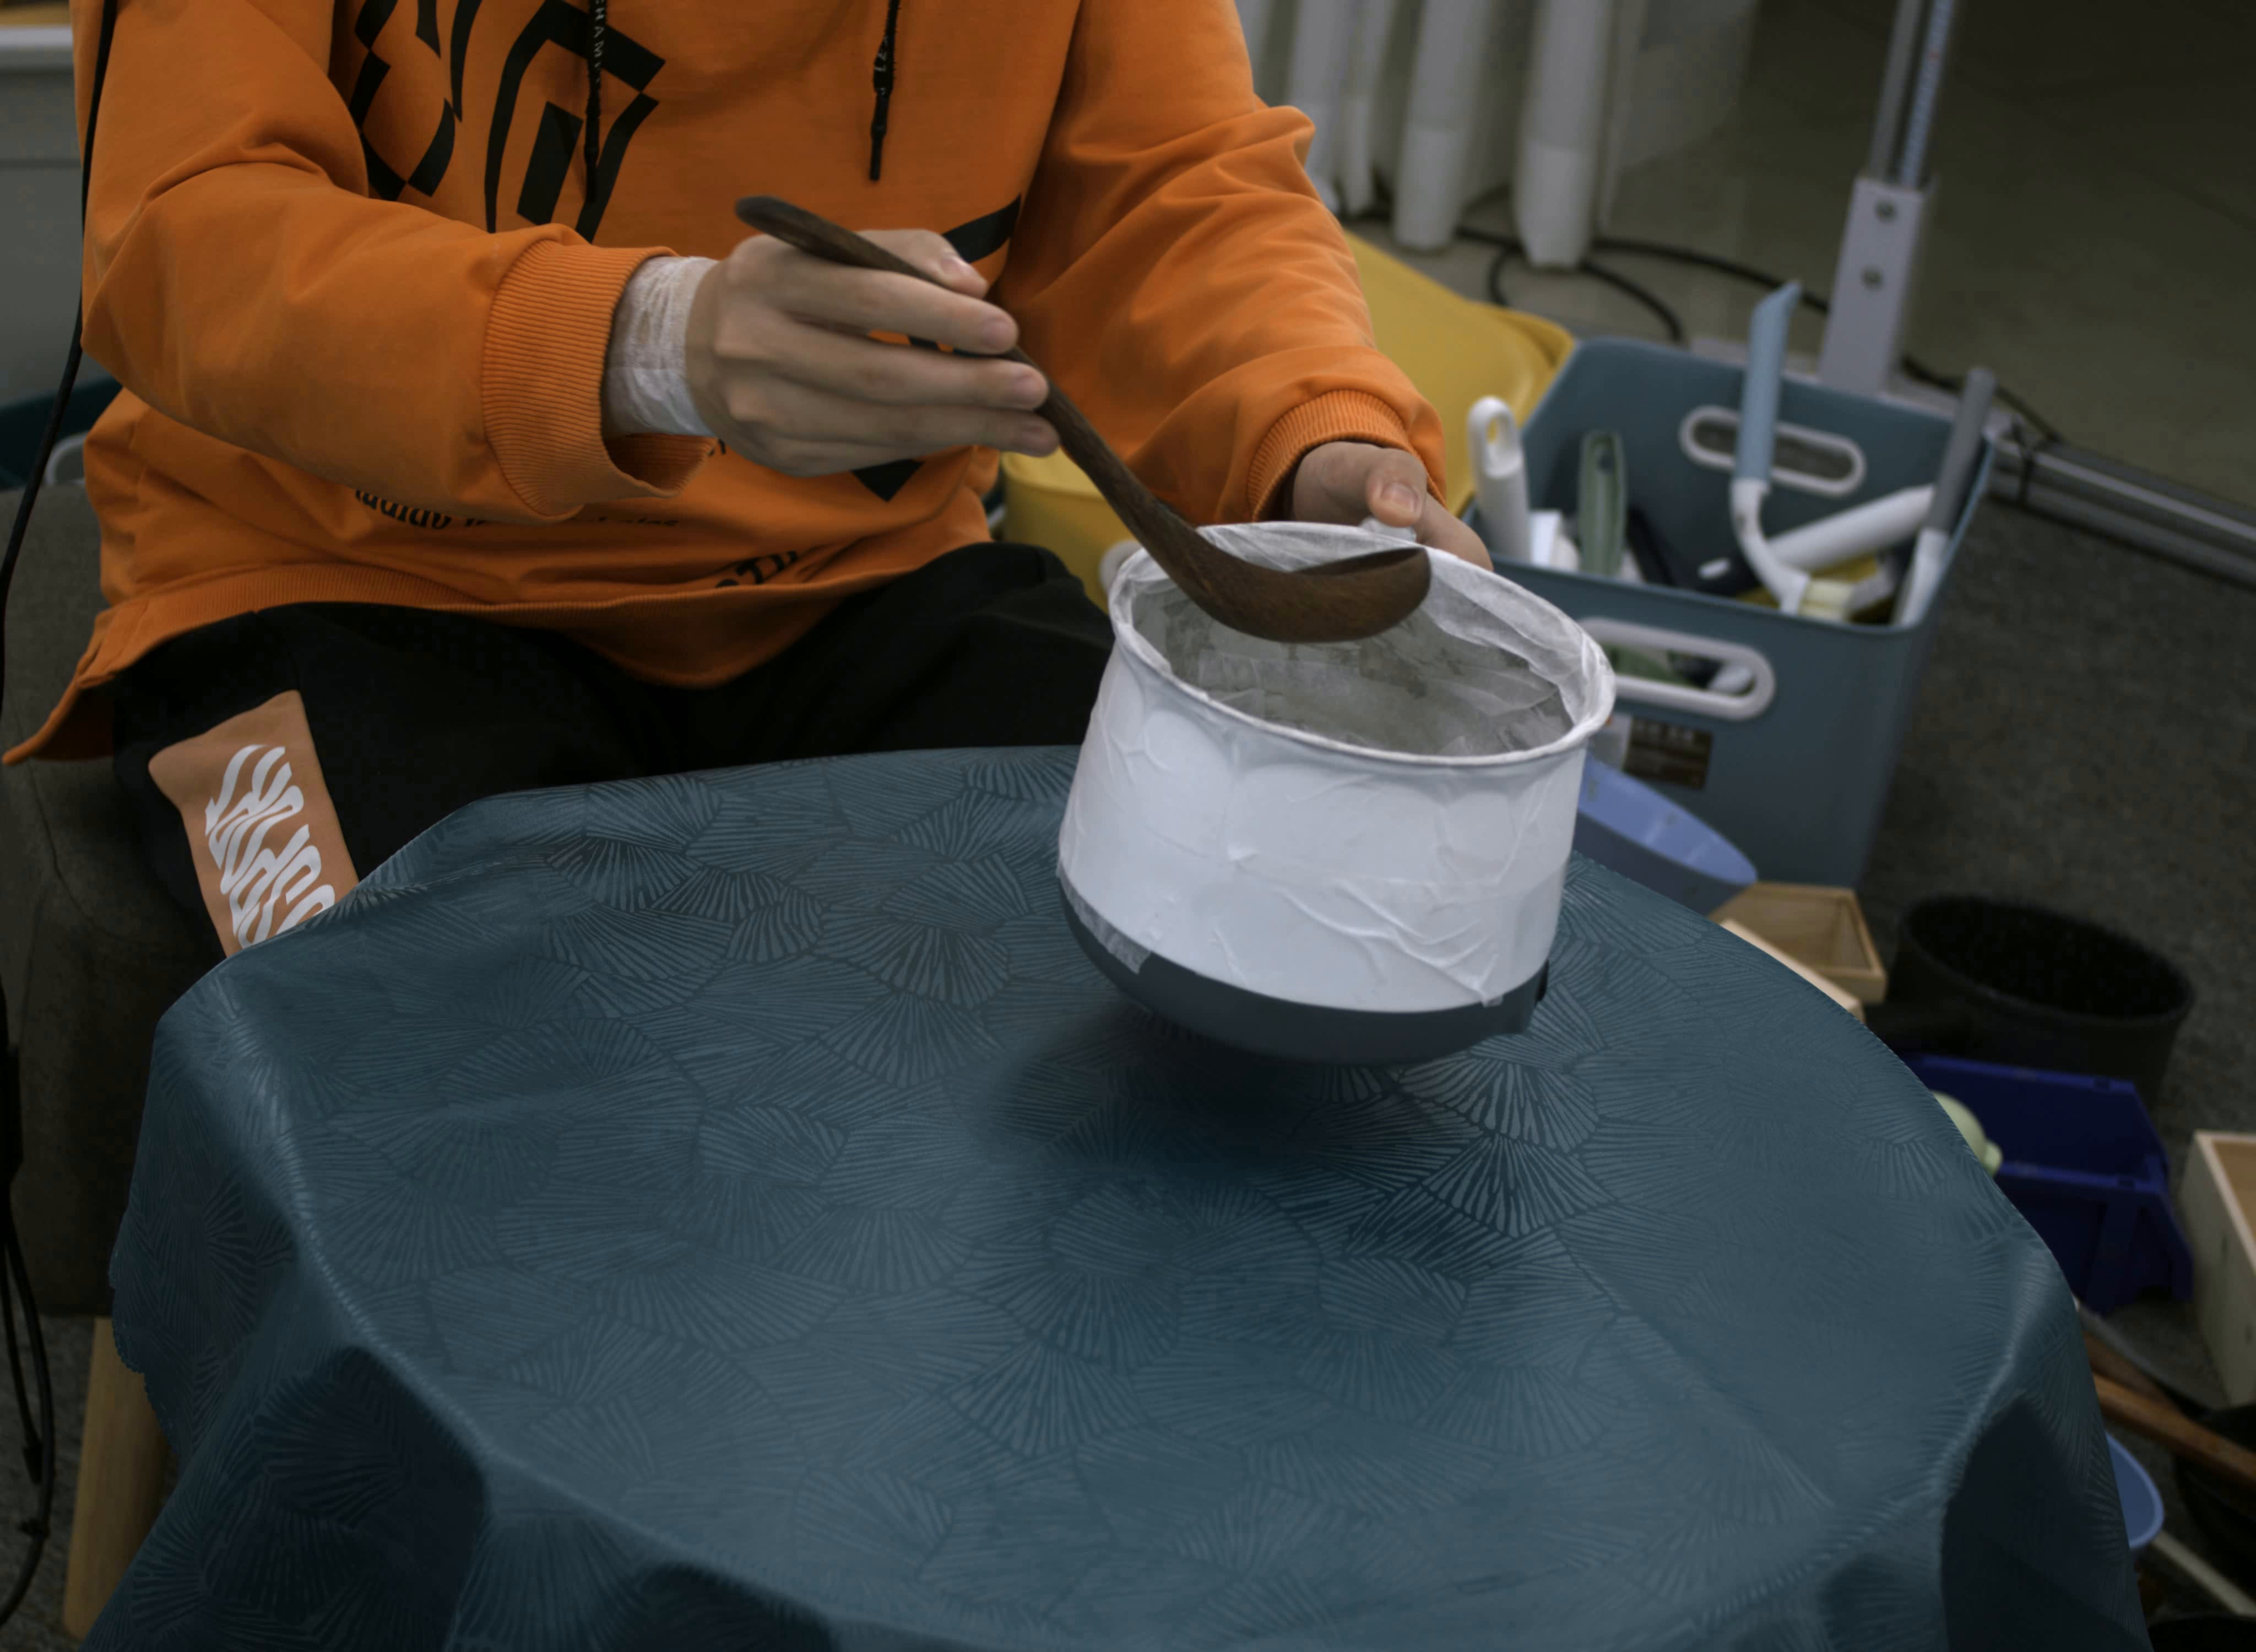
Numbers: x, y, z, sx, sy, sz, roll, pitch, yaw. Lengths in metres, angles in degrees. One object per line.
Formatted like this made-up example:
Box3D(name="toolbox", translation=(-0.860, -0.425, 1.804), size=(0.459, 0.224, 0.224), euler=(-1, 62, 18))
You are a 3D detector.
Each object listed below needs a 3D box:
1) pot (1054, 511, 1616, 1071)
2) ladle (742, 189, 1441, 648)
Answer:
Box3D(name="pot", translation=(0.071, -0.022, 1.862), size=(0.178, 0.136, 0.235), euler=(13, 27, 1))
Box3D(name="ladle", translation=(-0.008, -0.149, 1.800), size=(0.272, 0.071, 0.076), euler=(40, -19, -18))
